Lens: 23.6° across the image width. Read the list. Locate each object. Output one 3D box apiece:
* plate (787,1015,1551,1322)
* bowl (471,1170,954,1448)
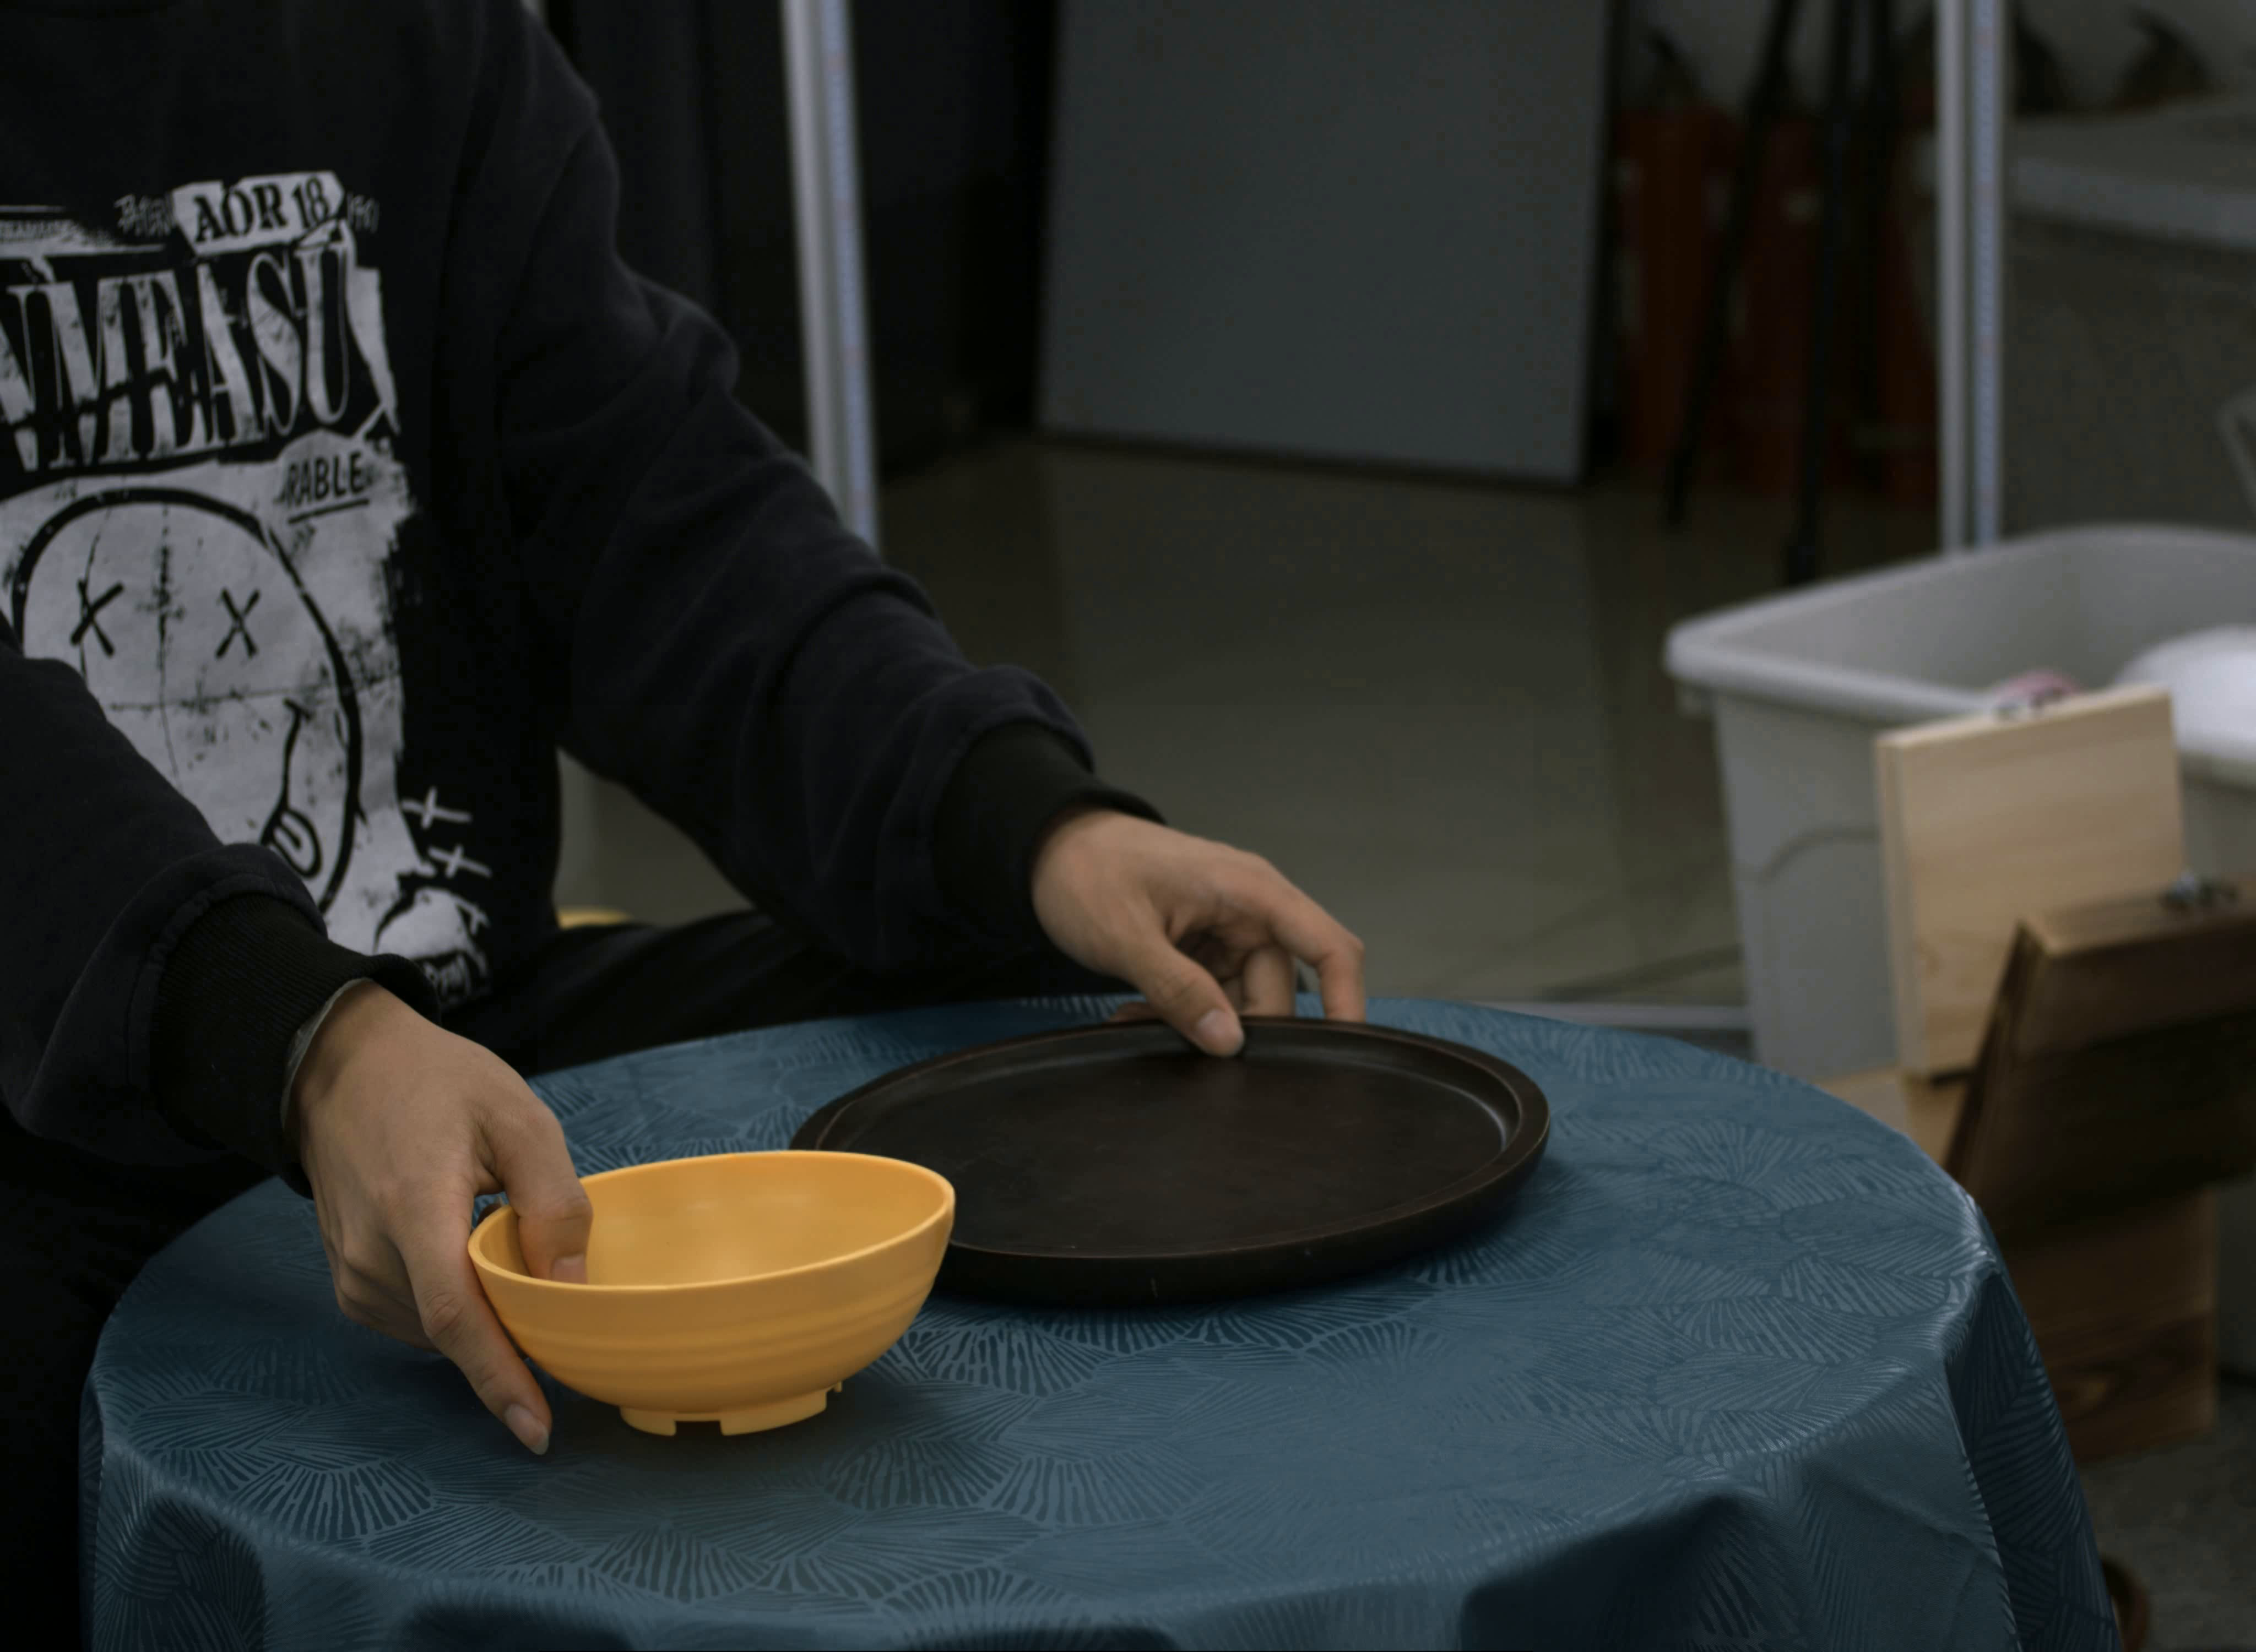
[{"bbox_3d":[0.014,0.110,1.765,0.251,0.029,0.255,-6,15,1],"label":"plate"},{"bbox_3d":[-0.119,0.145,1.588,0.143,0.061,0.145,-6,8,0],"label":"bowl"}]
